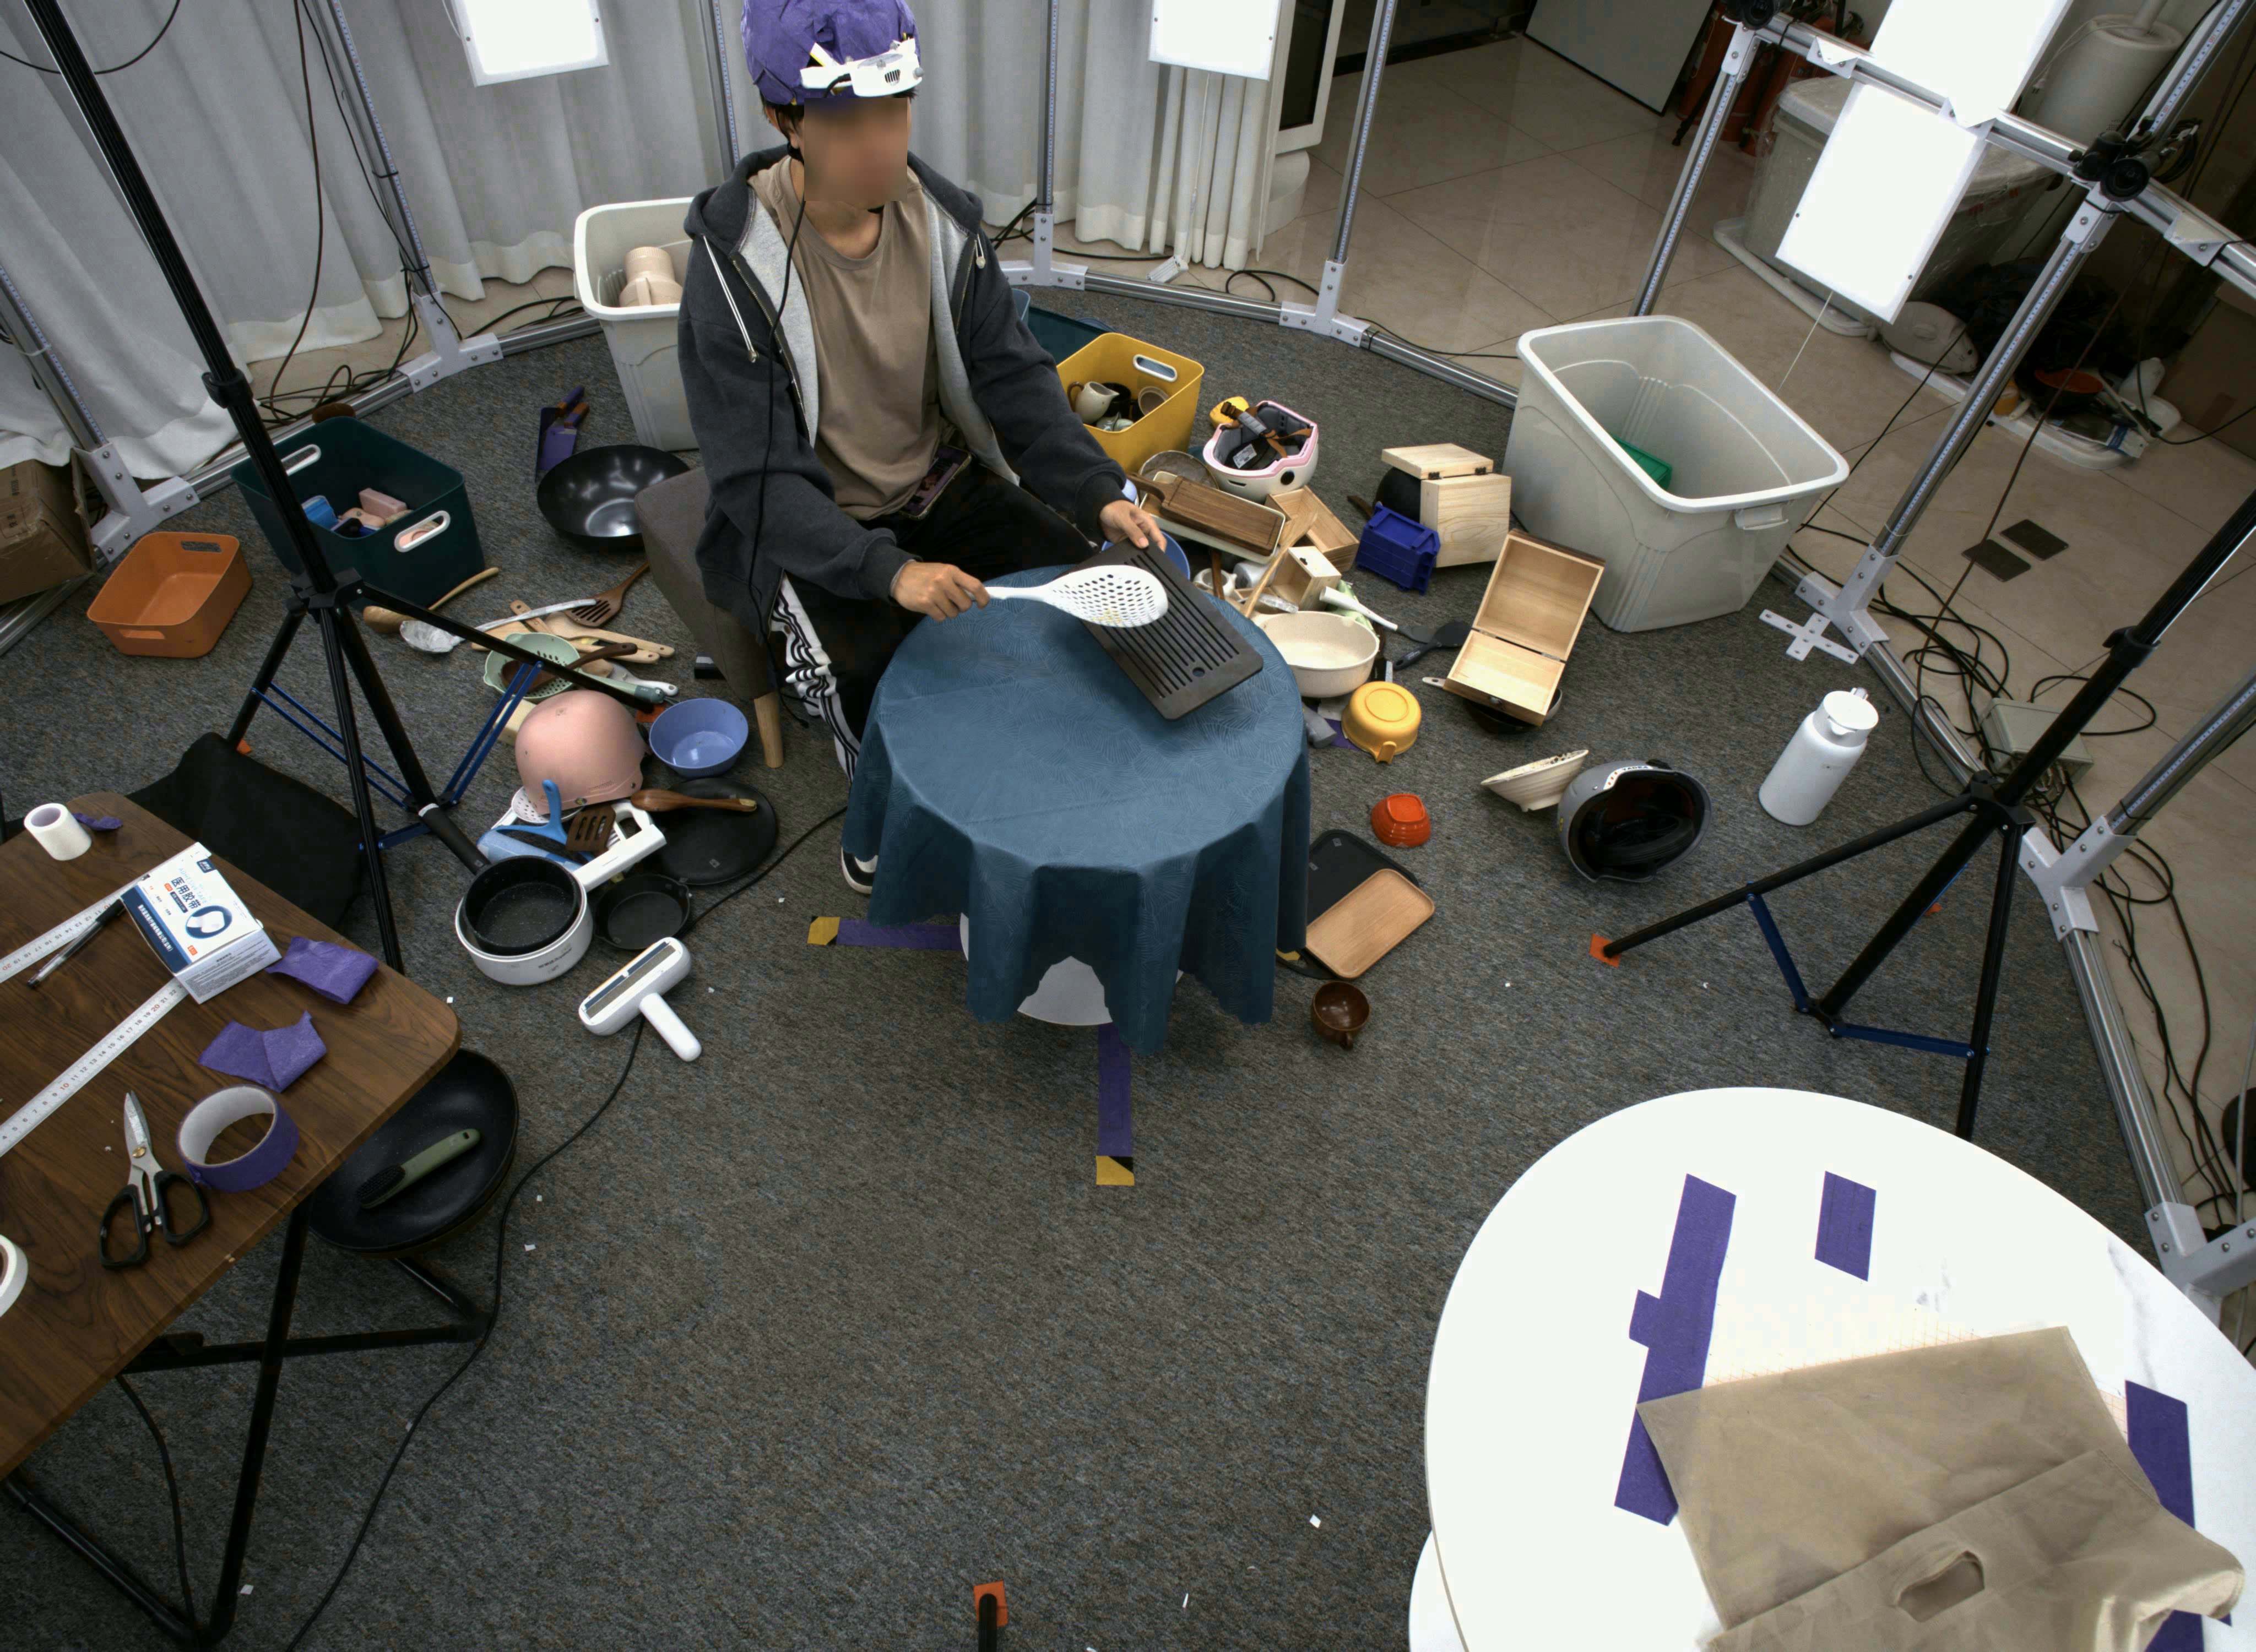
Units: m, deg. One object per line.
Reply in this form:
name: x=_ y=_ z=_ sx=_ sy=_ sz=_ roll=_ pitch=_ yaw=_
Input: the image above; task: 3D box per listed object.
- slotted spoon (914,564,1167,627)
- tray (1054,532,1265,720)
slotted spoon: x=-0.120 y=-0.308 z=1.753 sx=0.349 sy=0.134 sz=0.051 roll=7 pitch=69 yaw=15
tray: x=0.042 y=-0.289 z=1.839 sx=0.171 sy=0.018 sz=0.311 roll=-31 pitch=62 yaw=-15
